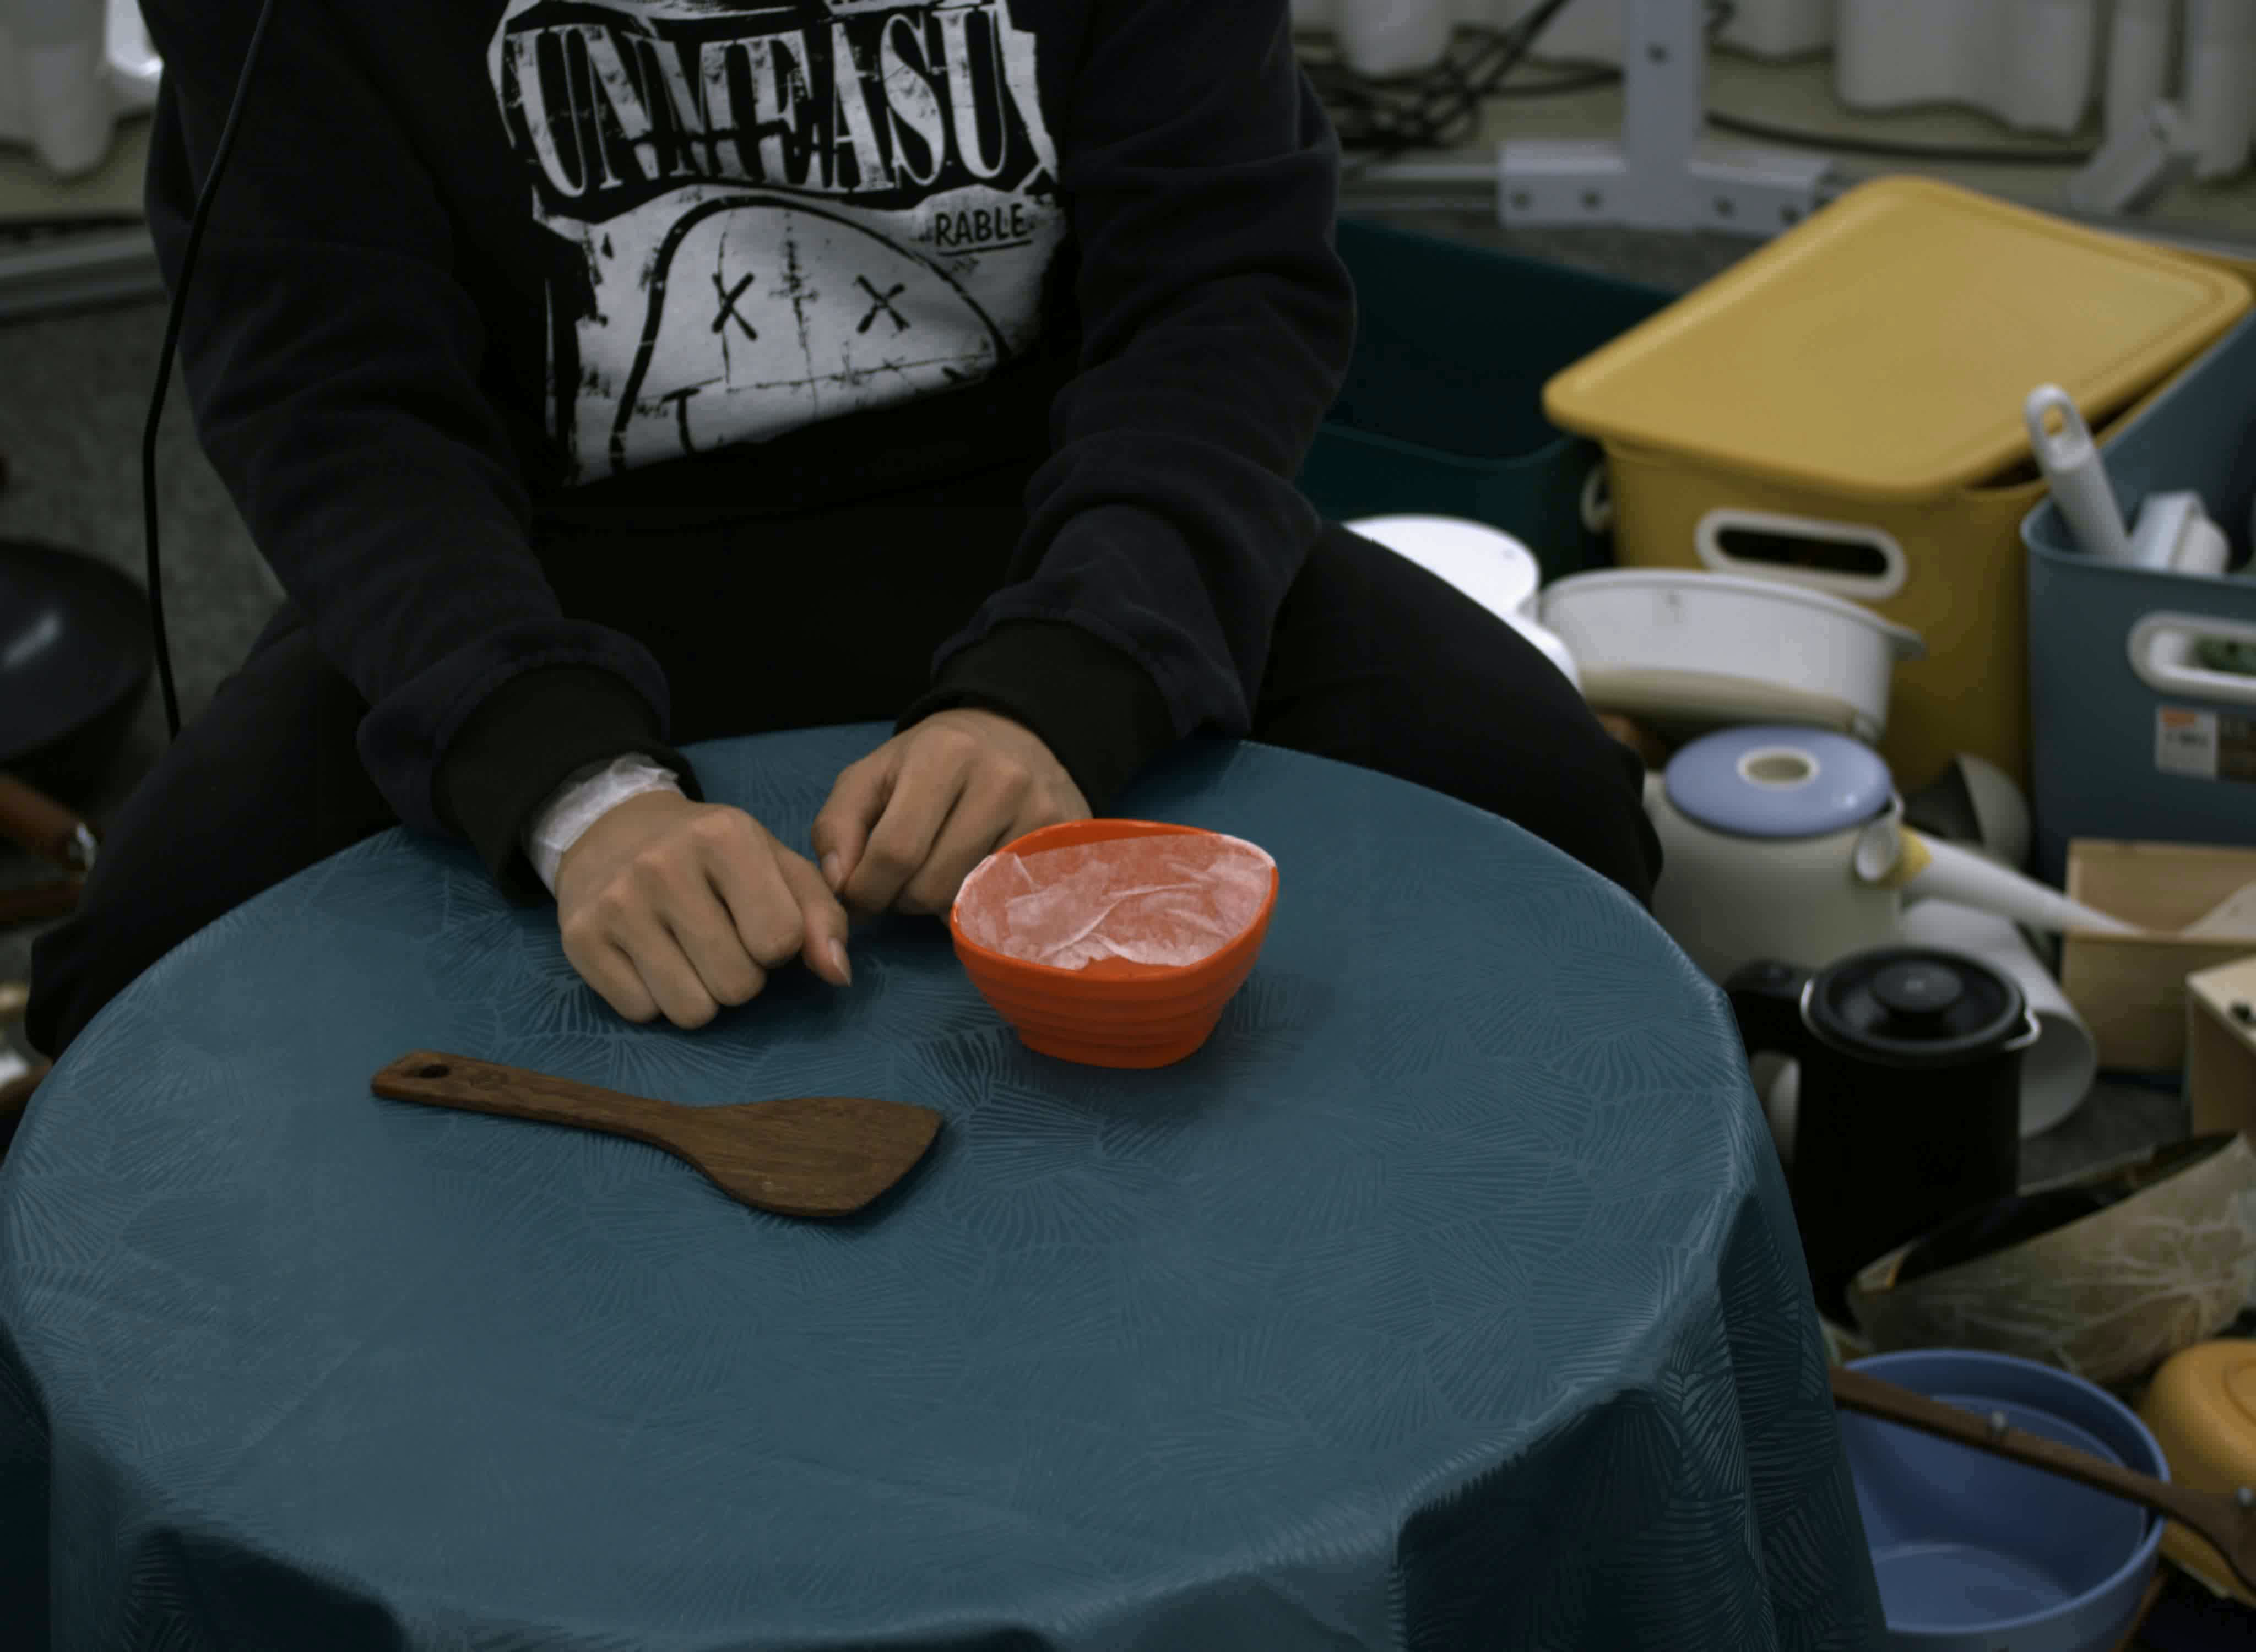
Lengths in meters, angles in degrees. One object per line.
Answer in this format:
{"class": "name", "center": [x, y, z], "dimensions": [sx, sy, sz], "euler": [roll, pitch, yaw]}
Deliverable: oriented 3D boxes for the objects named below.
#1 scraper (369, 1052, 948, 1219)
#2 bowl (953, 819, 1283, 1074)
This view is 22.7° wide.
{"class": "scraper", "center": [-0.164, 0.101, 1.910], "dimensions": [0.210, 0.011, 0.077], "euler": [9, 29, 23]}
{"class": "bowl", "center": [-0.002, 0.046, 1.954], "dimensions": [0.118, 0.051, 0.121], "euler": [-2, 29, 2]}
